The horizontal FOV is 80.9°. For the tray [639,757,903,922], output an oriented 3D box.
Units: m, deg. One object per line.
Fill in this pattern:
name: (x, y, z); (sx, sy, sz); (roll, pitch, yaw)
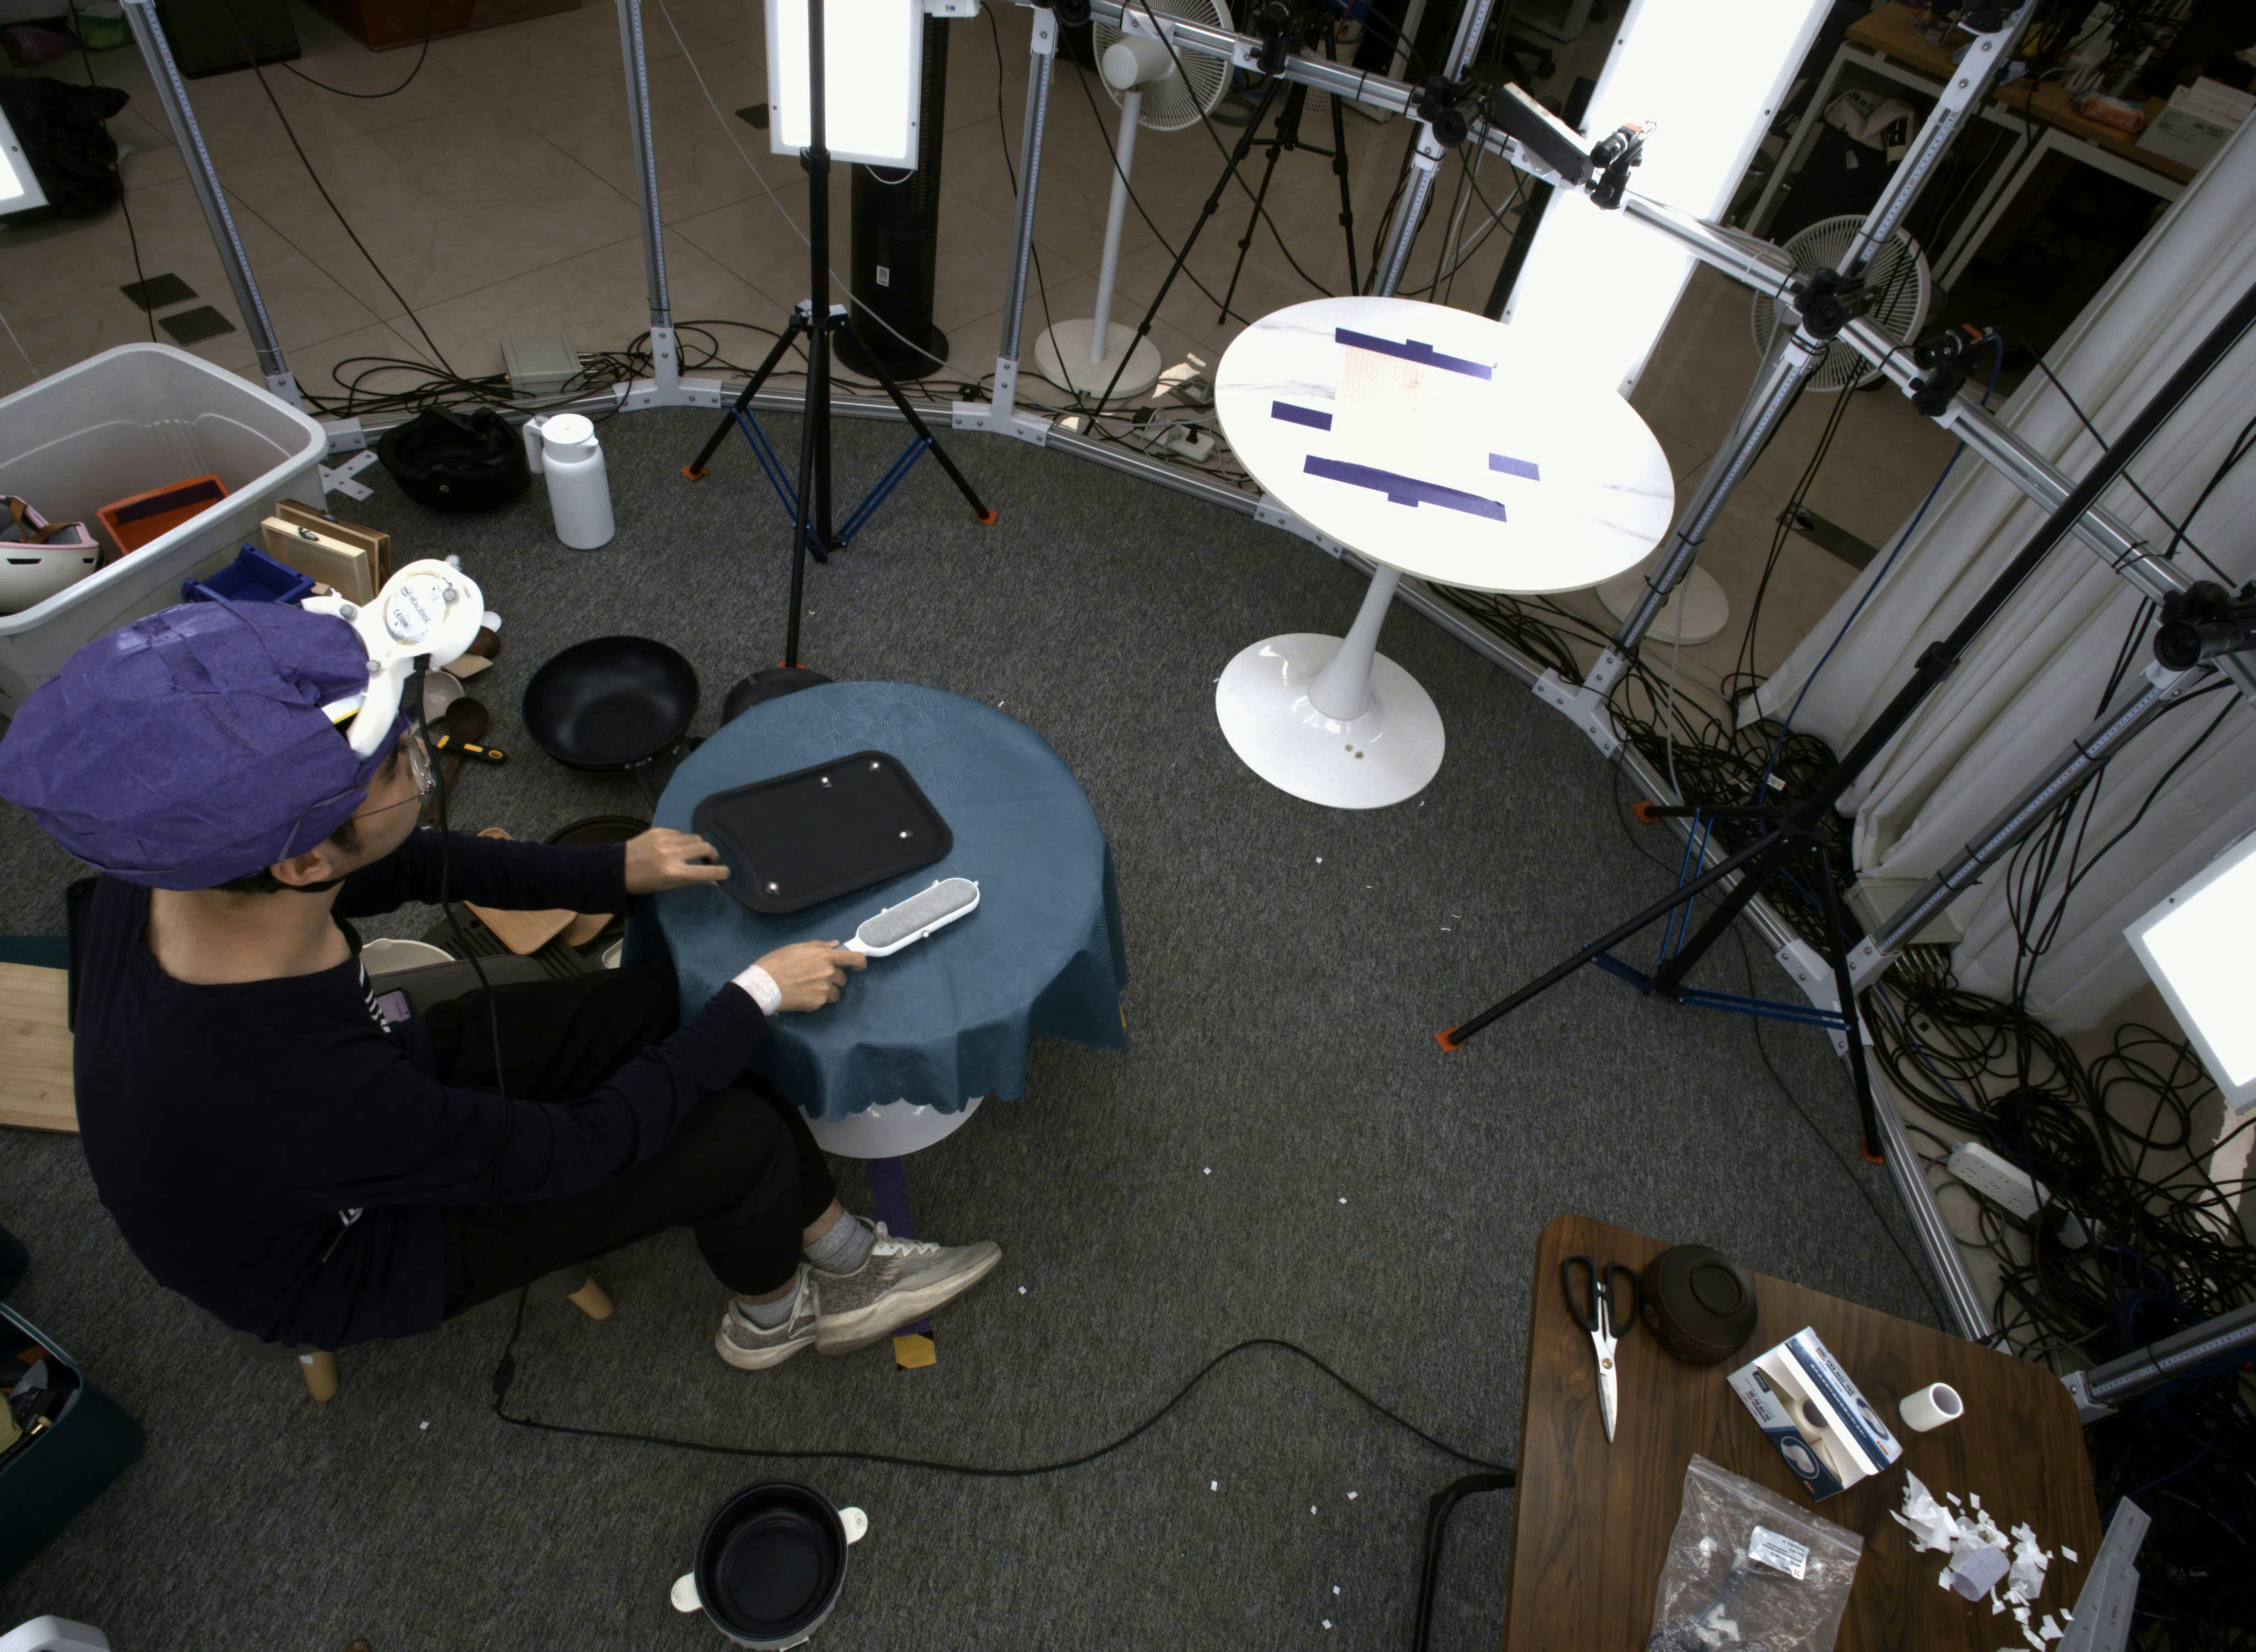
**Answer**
tray: (-0.465, 0.011, 1.679); (0.328, 0.010, 0.206); (-22, 61, -38)

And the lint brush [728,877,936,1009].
lint brush: (-0.363, 0.140, 1.611); (0.058, 0.021, 0.310); (41, 49, 22)
